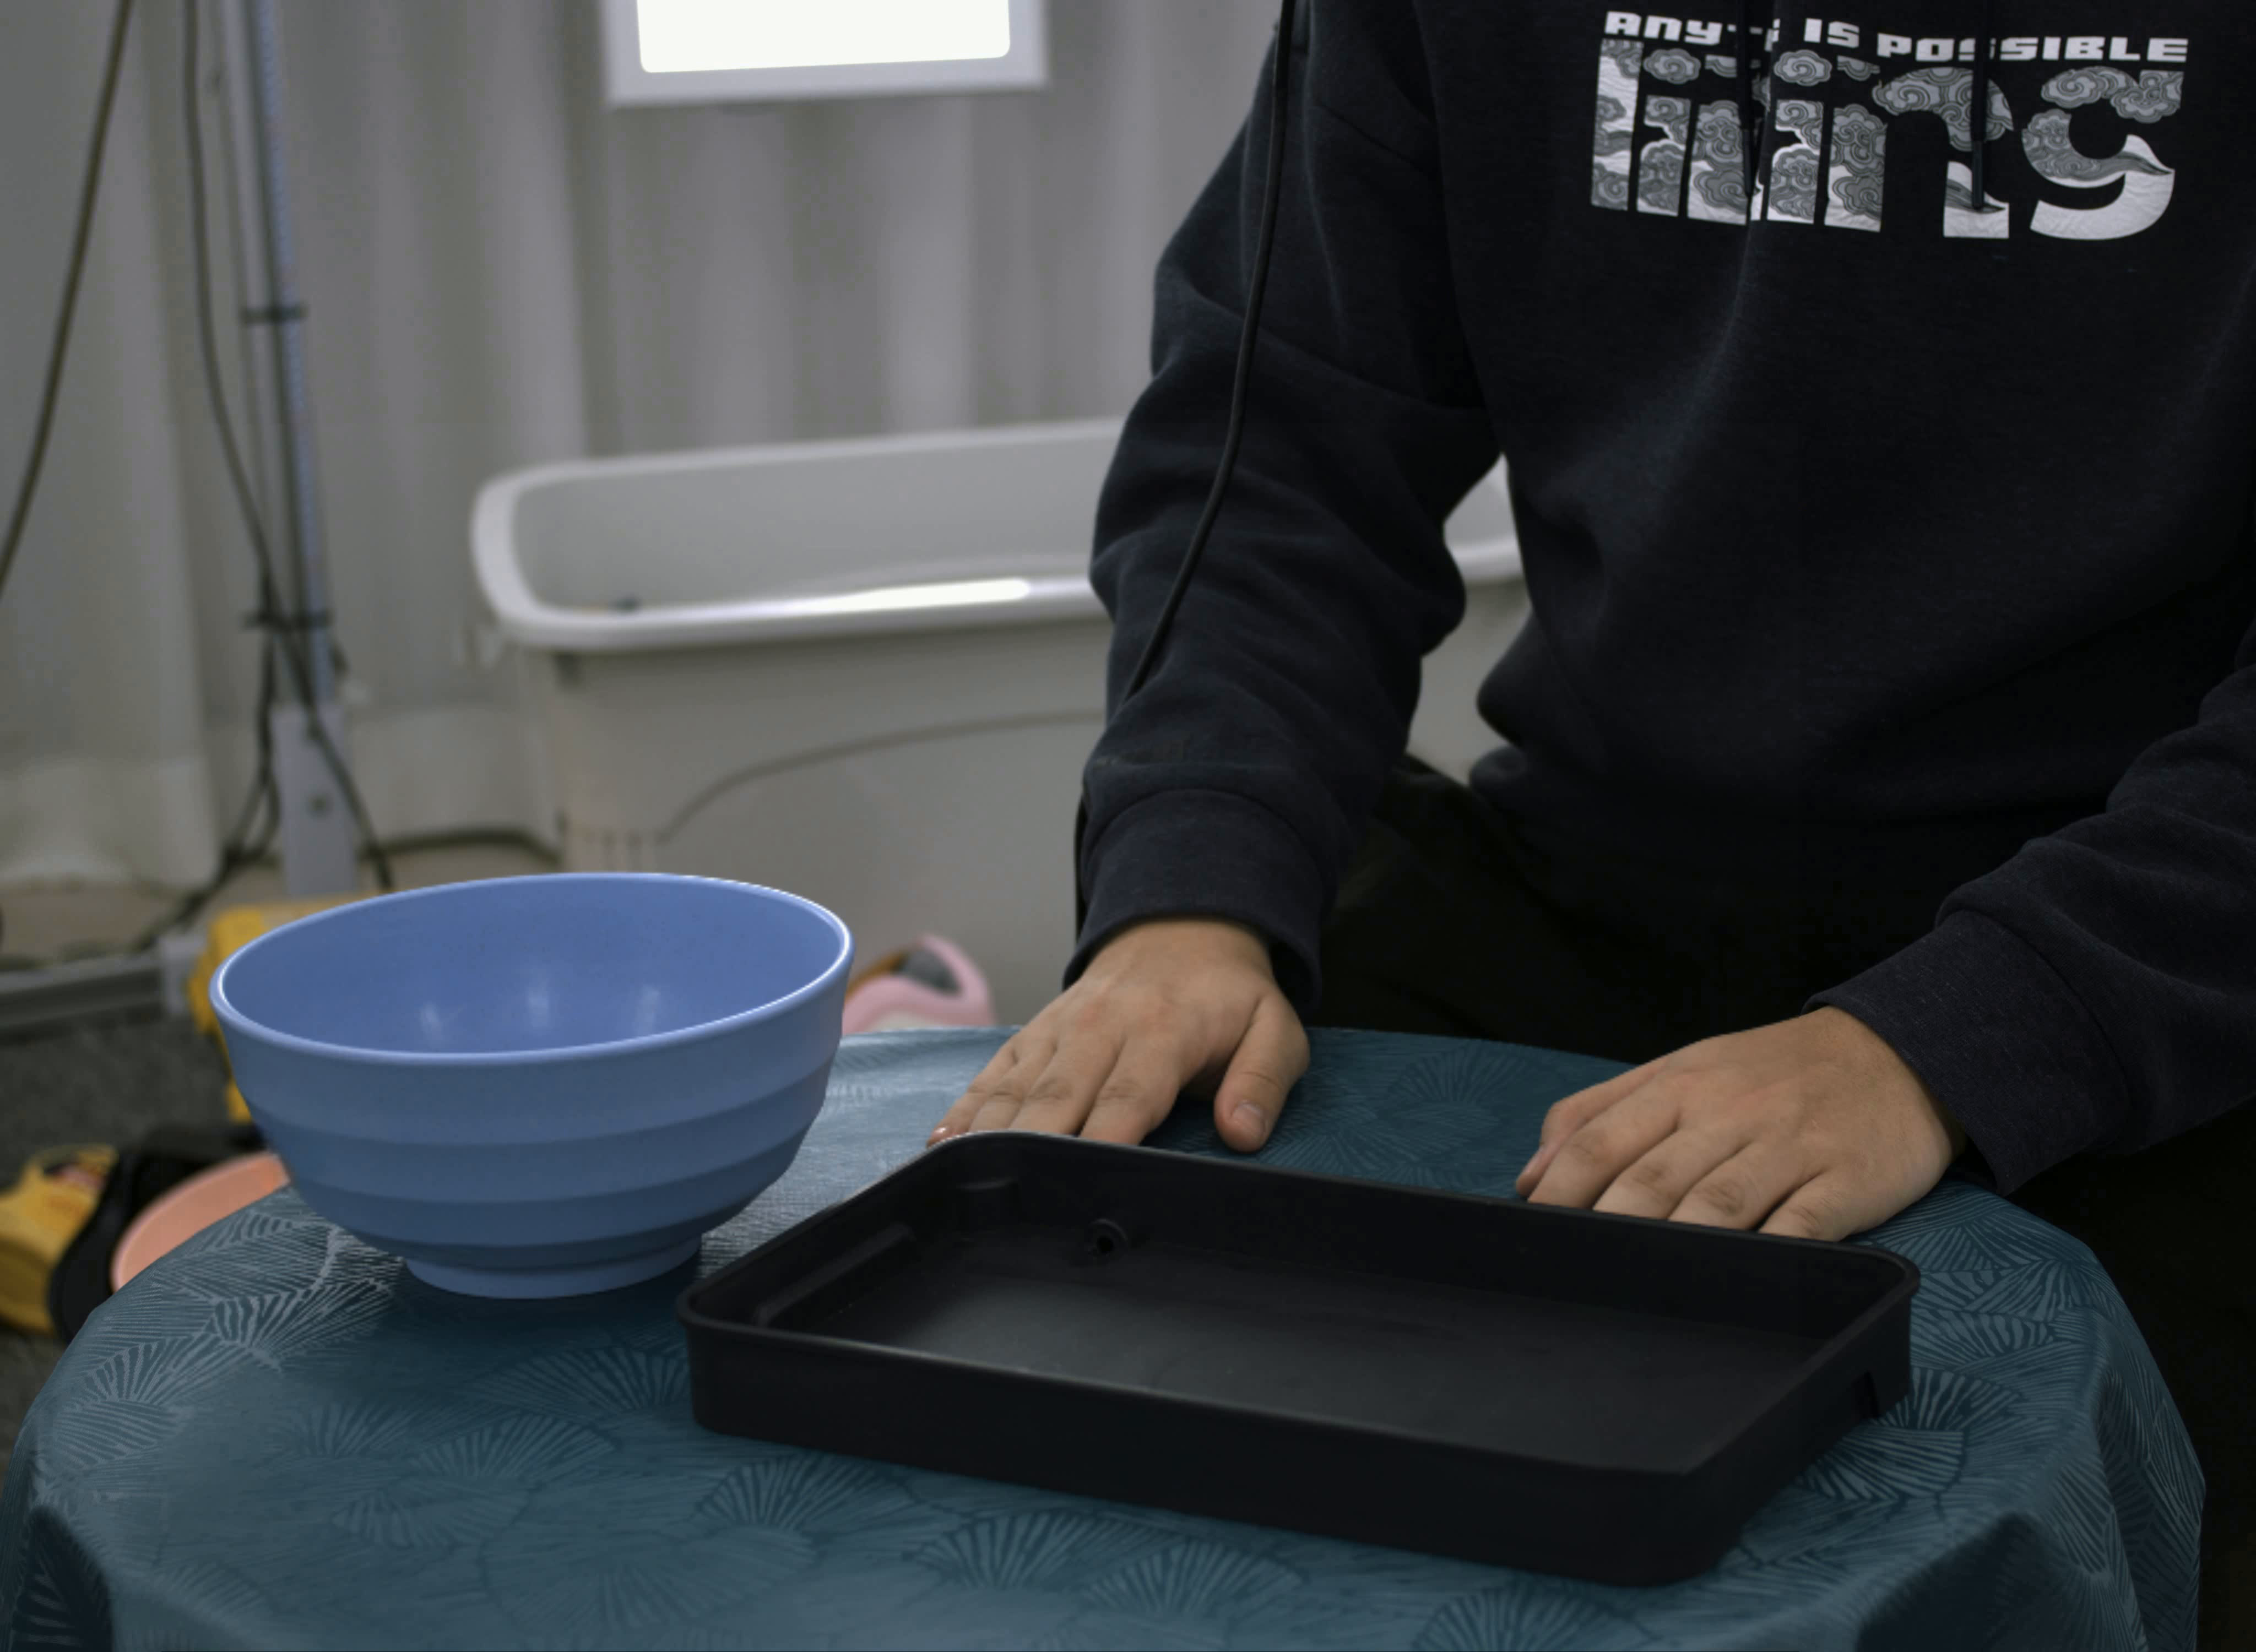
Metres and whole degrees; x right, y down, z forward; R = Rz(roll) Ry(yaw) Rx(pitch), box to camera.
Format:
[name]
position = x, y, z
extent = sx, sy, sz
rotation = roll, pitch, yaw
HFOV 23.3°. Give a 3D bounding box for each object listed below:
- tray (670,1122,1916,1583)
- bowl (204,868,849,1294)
[tray]
position = 0.045, 0.143, 1.531
extent = 0.319, 0.037, 0.184
rotation = 6, 17, 29
[bowl]
position = -0.179, 0.083, 1.675
extent = 0.196, 0.095, 0.198
rotation = -5, 14, 1
